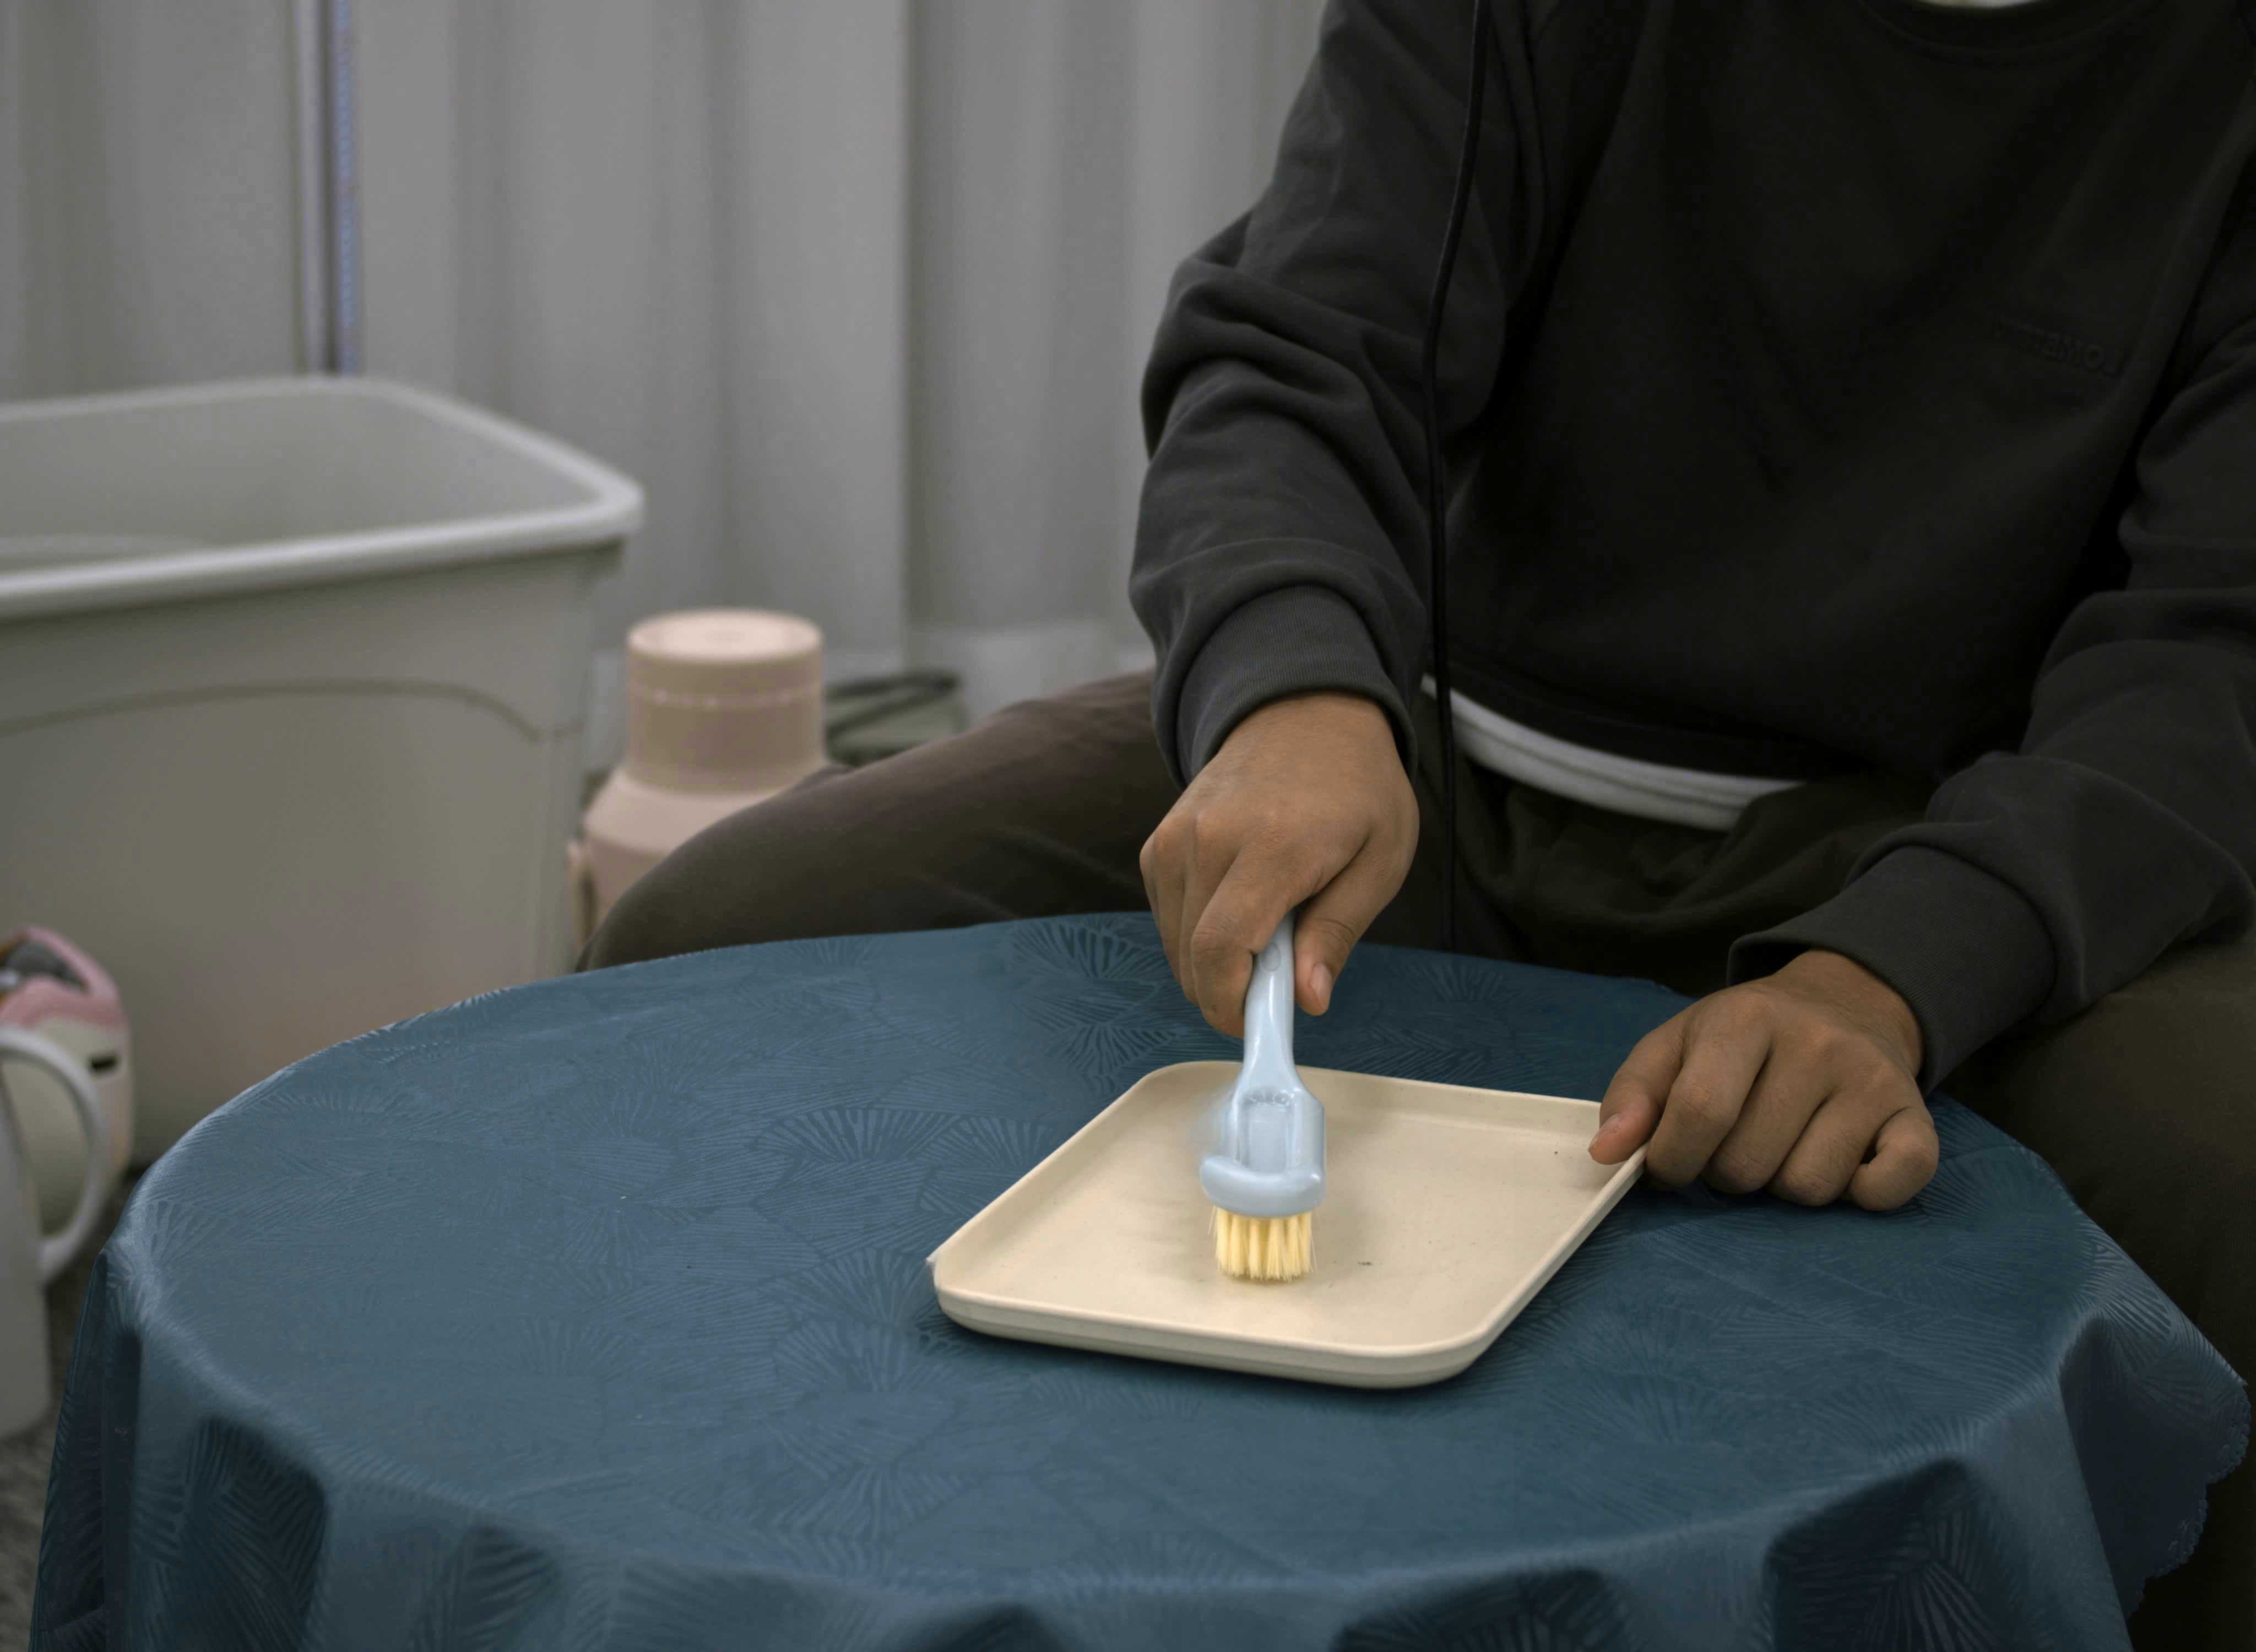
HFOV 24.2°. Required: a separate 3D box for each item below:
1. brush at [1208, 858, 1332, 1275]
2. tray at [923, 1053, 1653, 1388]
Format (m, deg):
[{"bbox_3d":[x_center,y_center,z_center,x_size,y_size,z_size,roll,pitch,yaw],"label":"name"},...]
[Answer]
[{"bbox_3d":[0.041,0.071,1.634,0.037,0.050,0.227,0,28,-1],"label":"brush"},{"bbox_3d":[0.052,0.117,1.579,0.169,0.017,0.240,7,16,19],"label":"tray"}]
